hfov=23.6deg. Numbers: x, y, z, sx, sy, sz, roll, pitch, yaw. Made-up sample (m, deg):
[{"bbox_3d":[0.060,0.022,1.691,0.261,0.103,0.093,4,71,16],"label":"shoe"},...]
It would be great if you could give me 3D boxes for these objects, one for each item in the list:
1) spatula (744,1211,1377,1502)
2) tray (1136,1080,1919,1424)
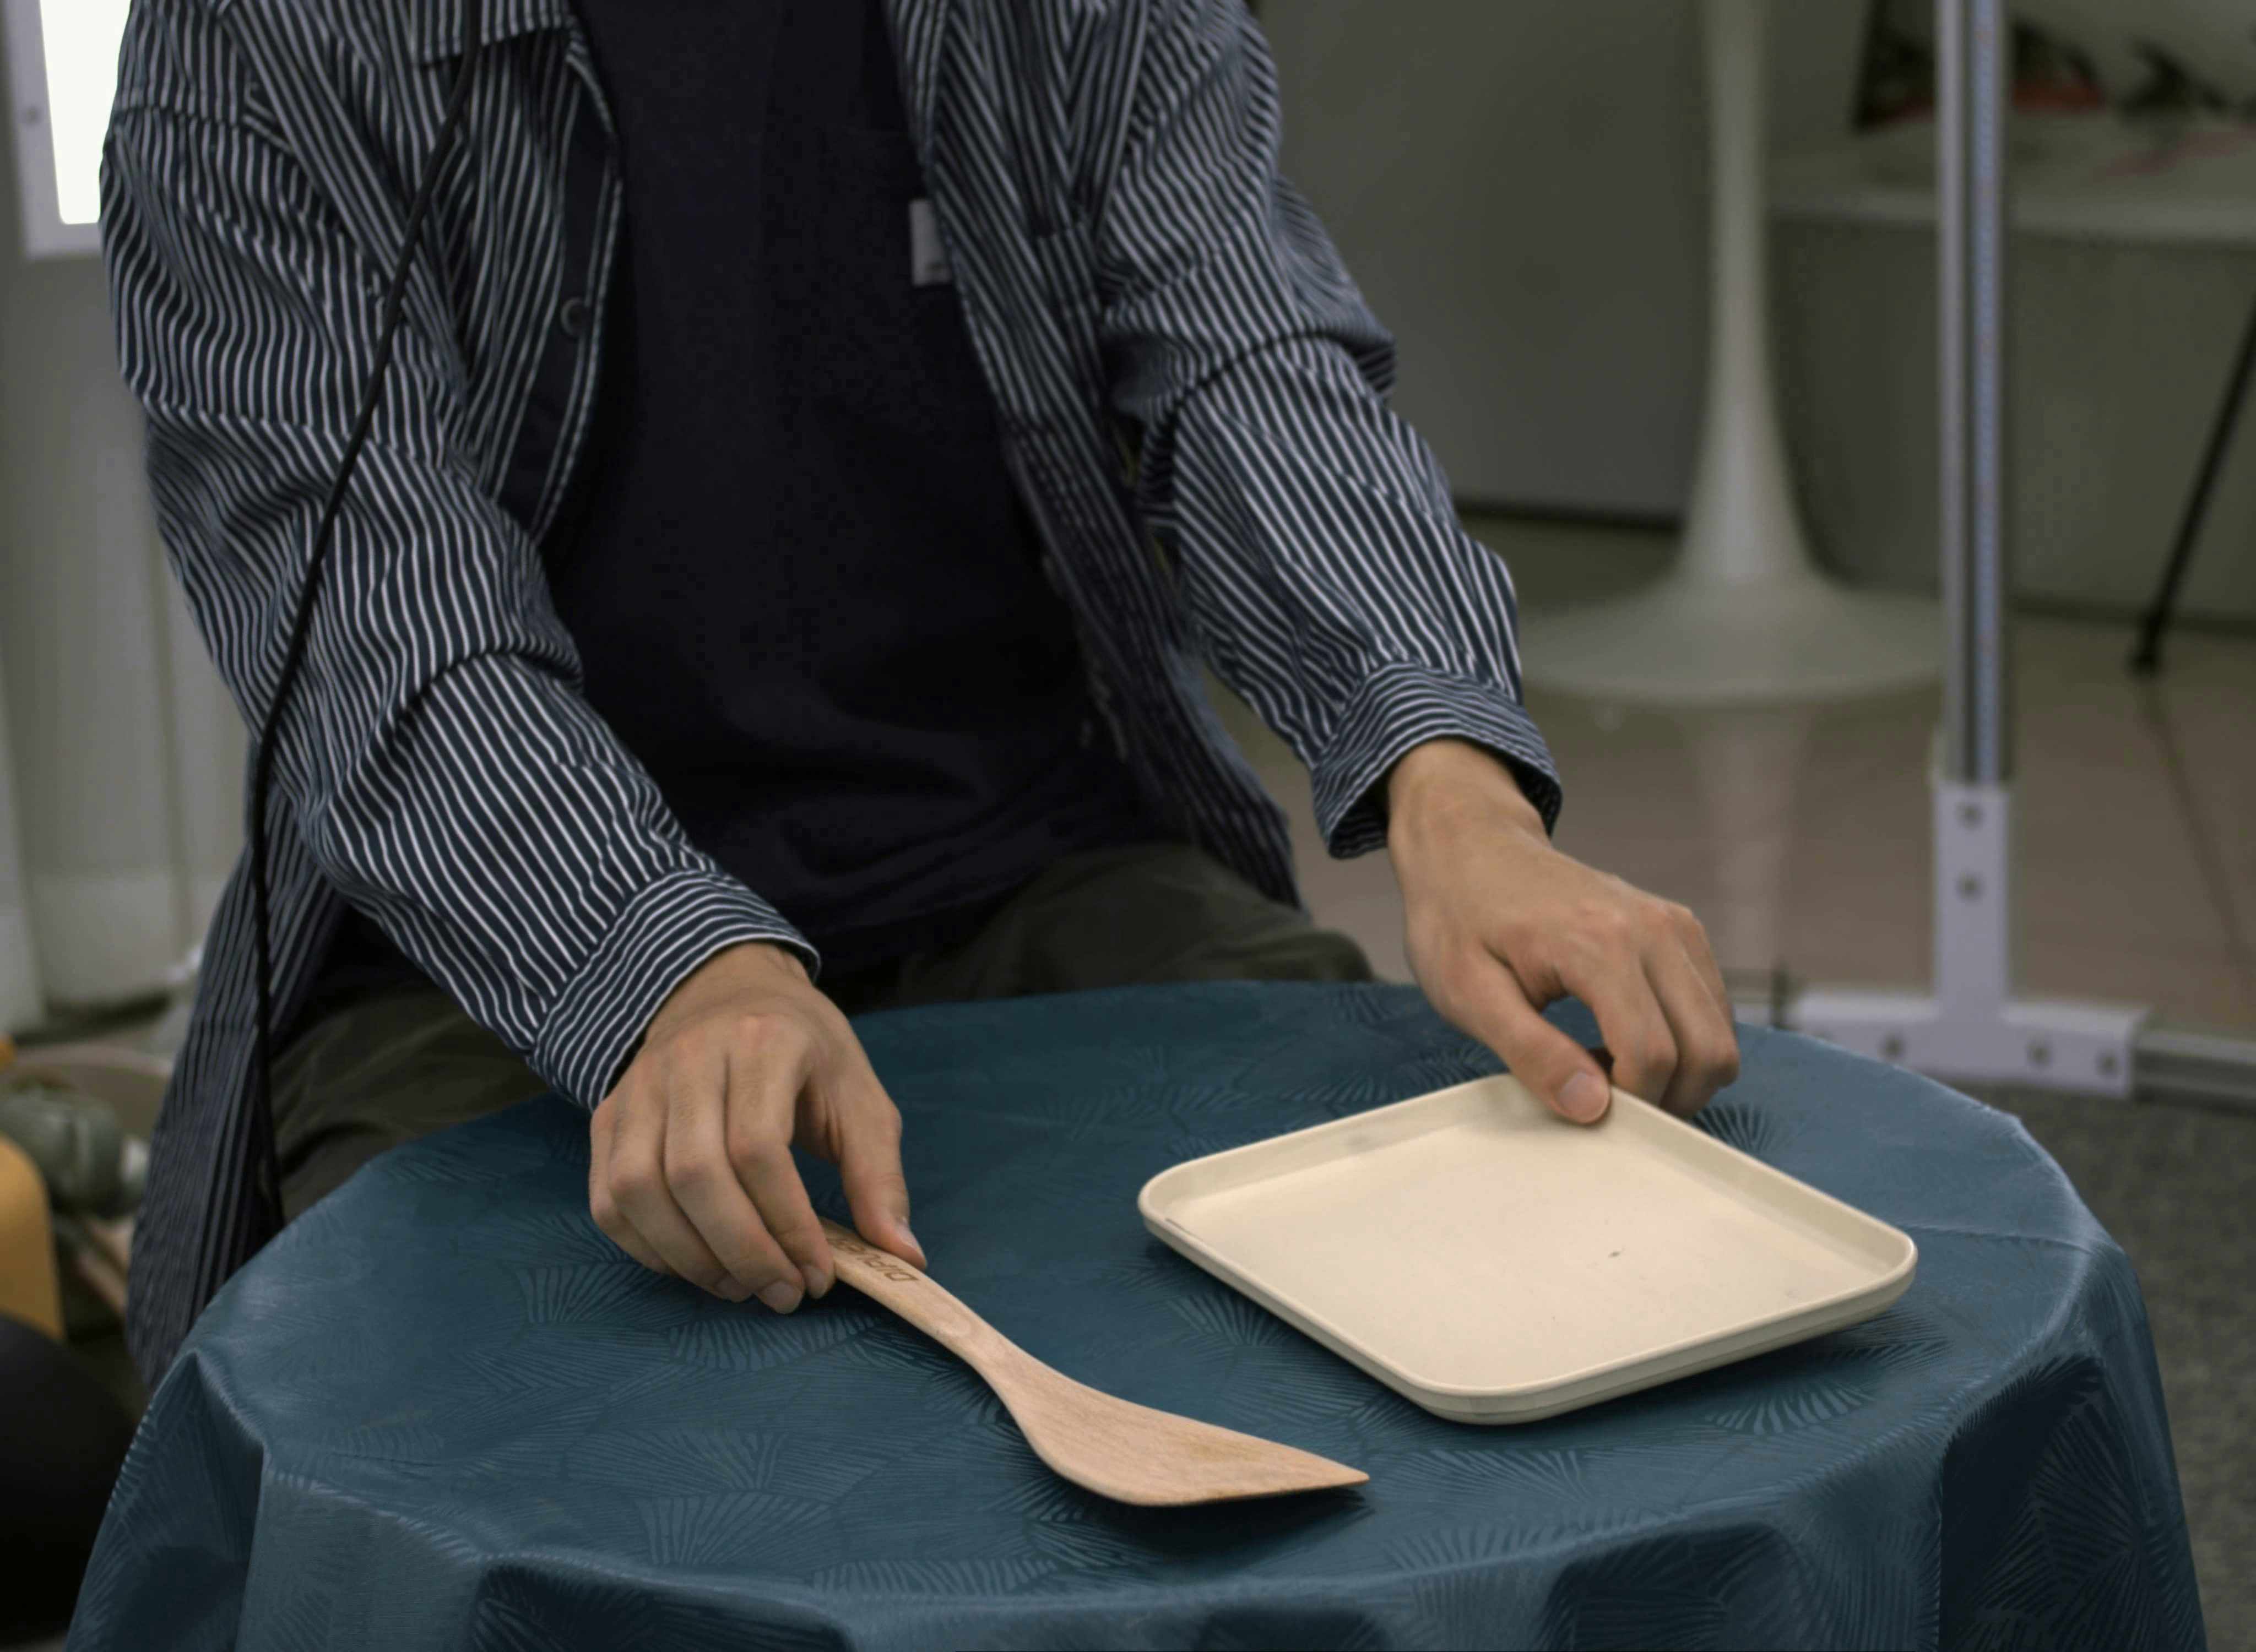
[{"bbox_3d":[-0.035,0.154,1.597,0.078,0.017,0.331,0,11,-29],"label":"spatula"},{"bbox_3d":[0.119,0.129,1.646,0.168,0.017,0.242,-13,17,-22],"label":"tray"}]
